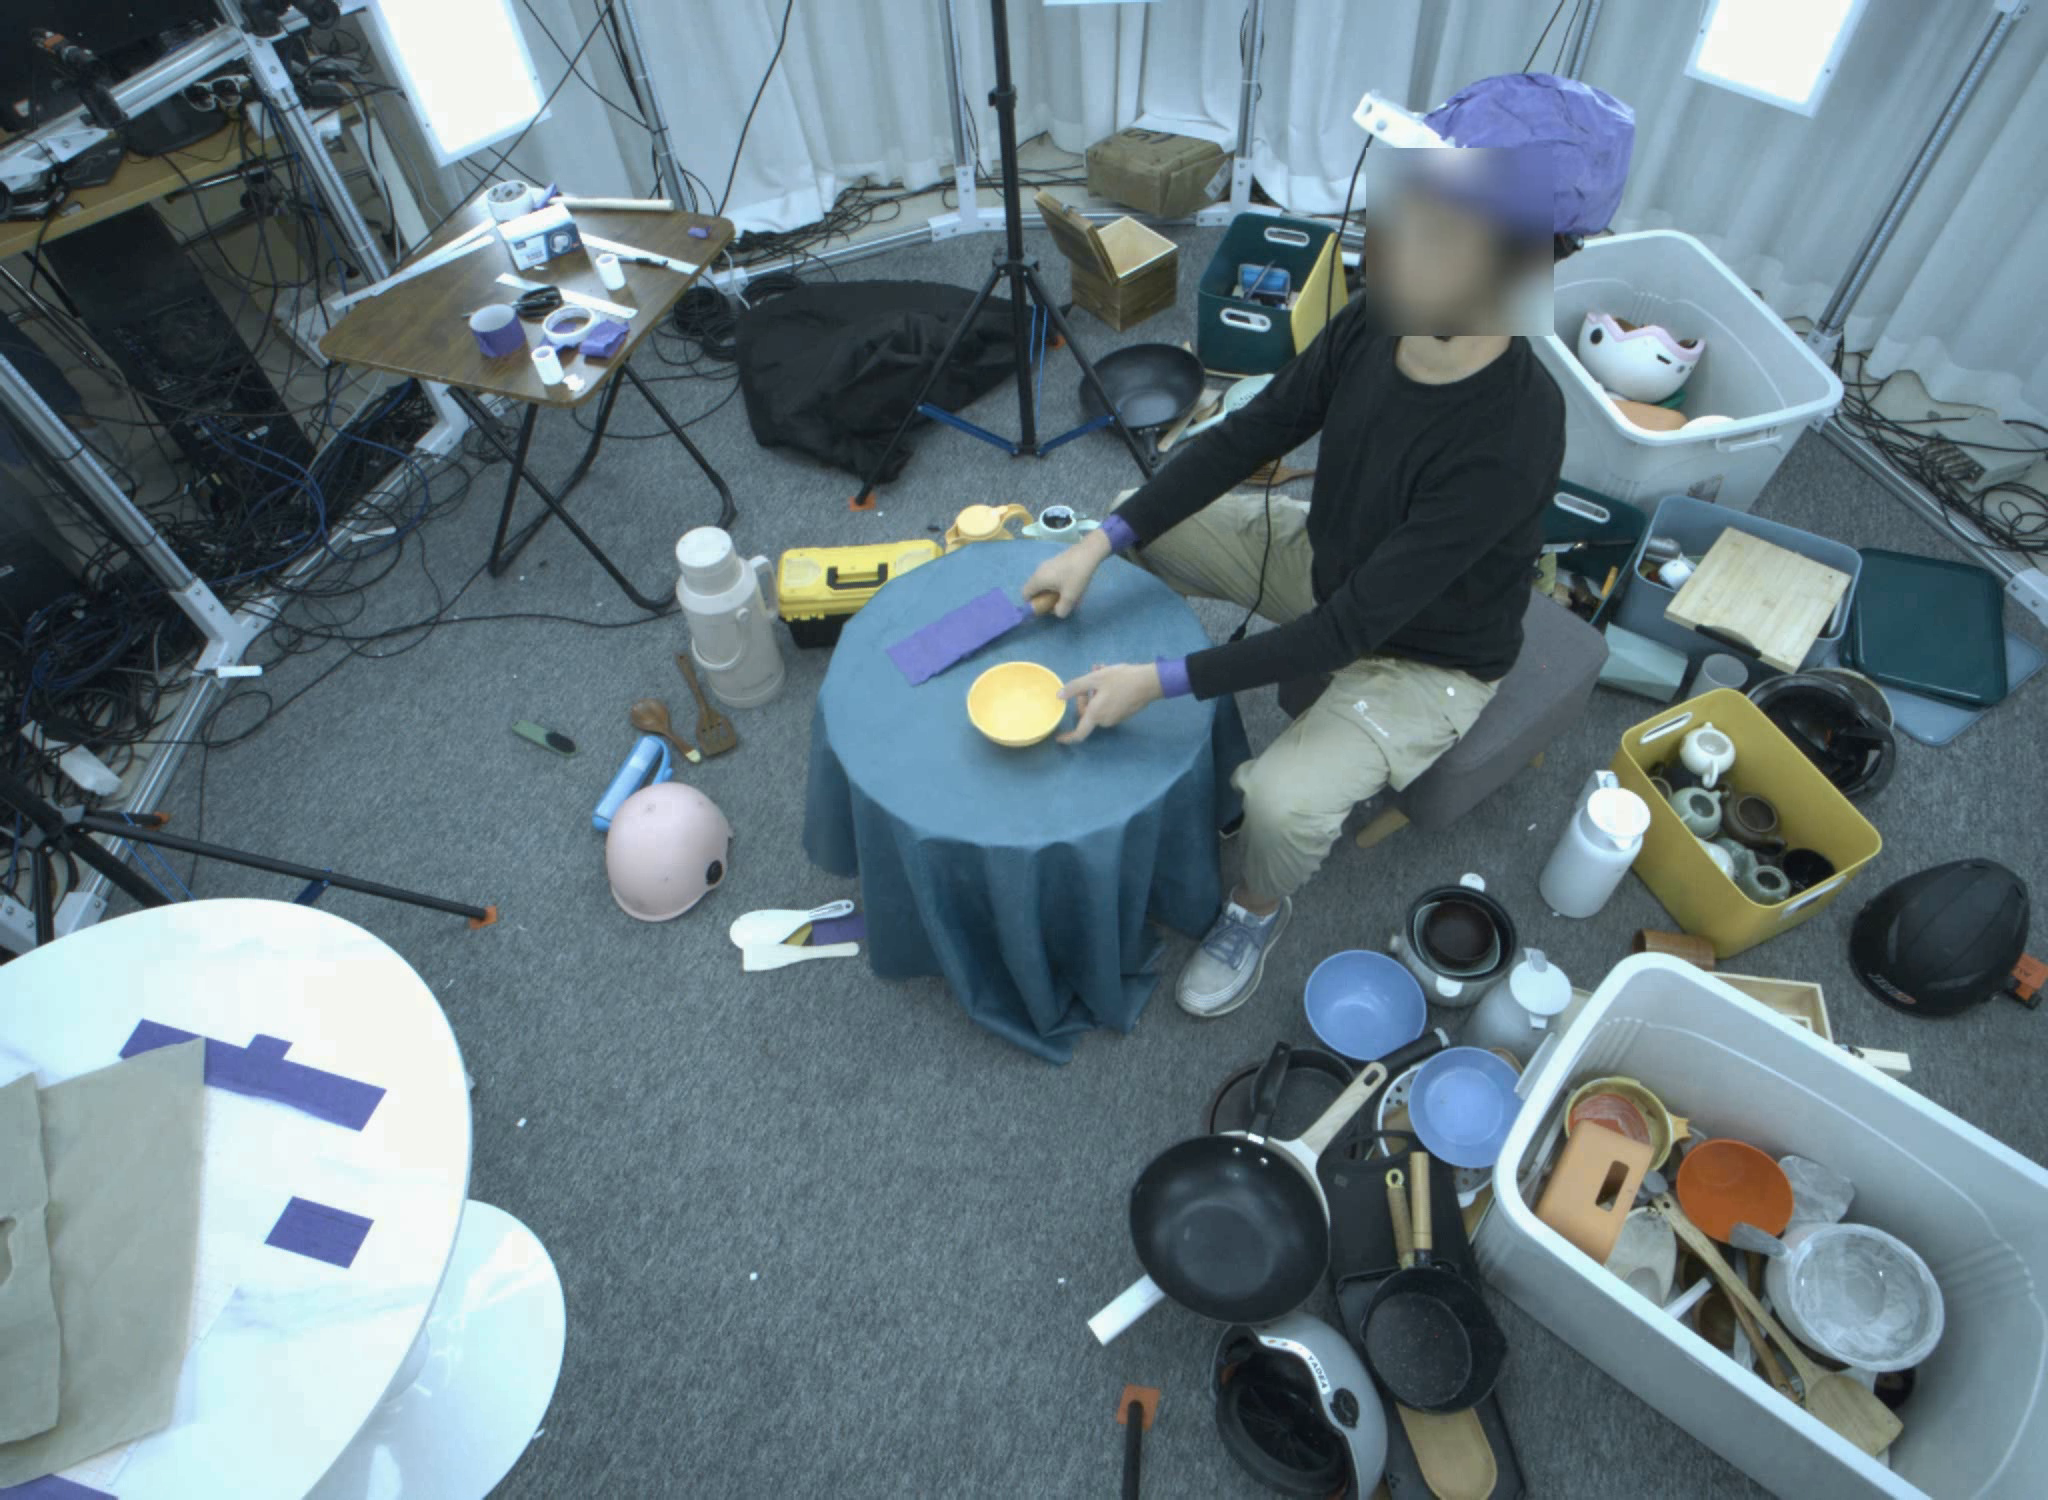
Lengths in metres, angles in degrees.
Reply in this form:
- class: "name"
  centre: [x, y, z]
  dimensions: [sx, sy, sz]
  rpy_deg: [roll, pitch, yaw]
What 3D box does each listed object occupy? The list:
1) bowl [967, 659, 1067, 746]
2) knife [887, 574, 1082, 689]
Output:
- class: "bowl"
  centre: [-0.009, -0.058, 1.787]
  dimensions: [0.145, 0.061, 0.144]
  rpy_deg: [0, 56, 2]
- class: "knife"
  centre: [-0.065, -0.205, 1.901]
  dimensions: [0.317, 0.032, 0.102]
  rpy_deg: [-30, 59, -12]
